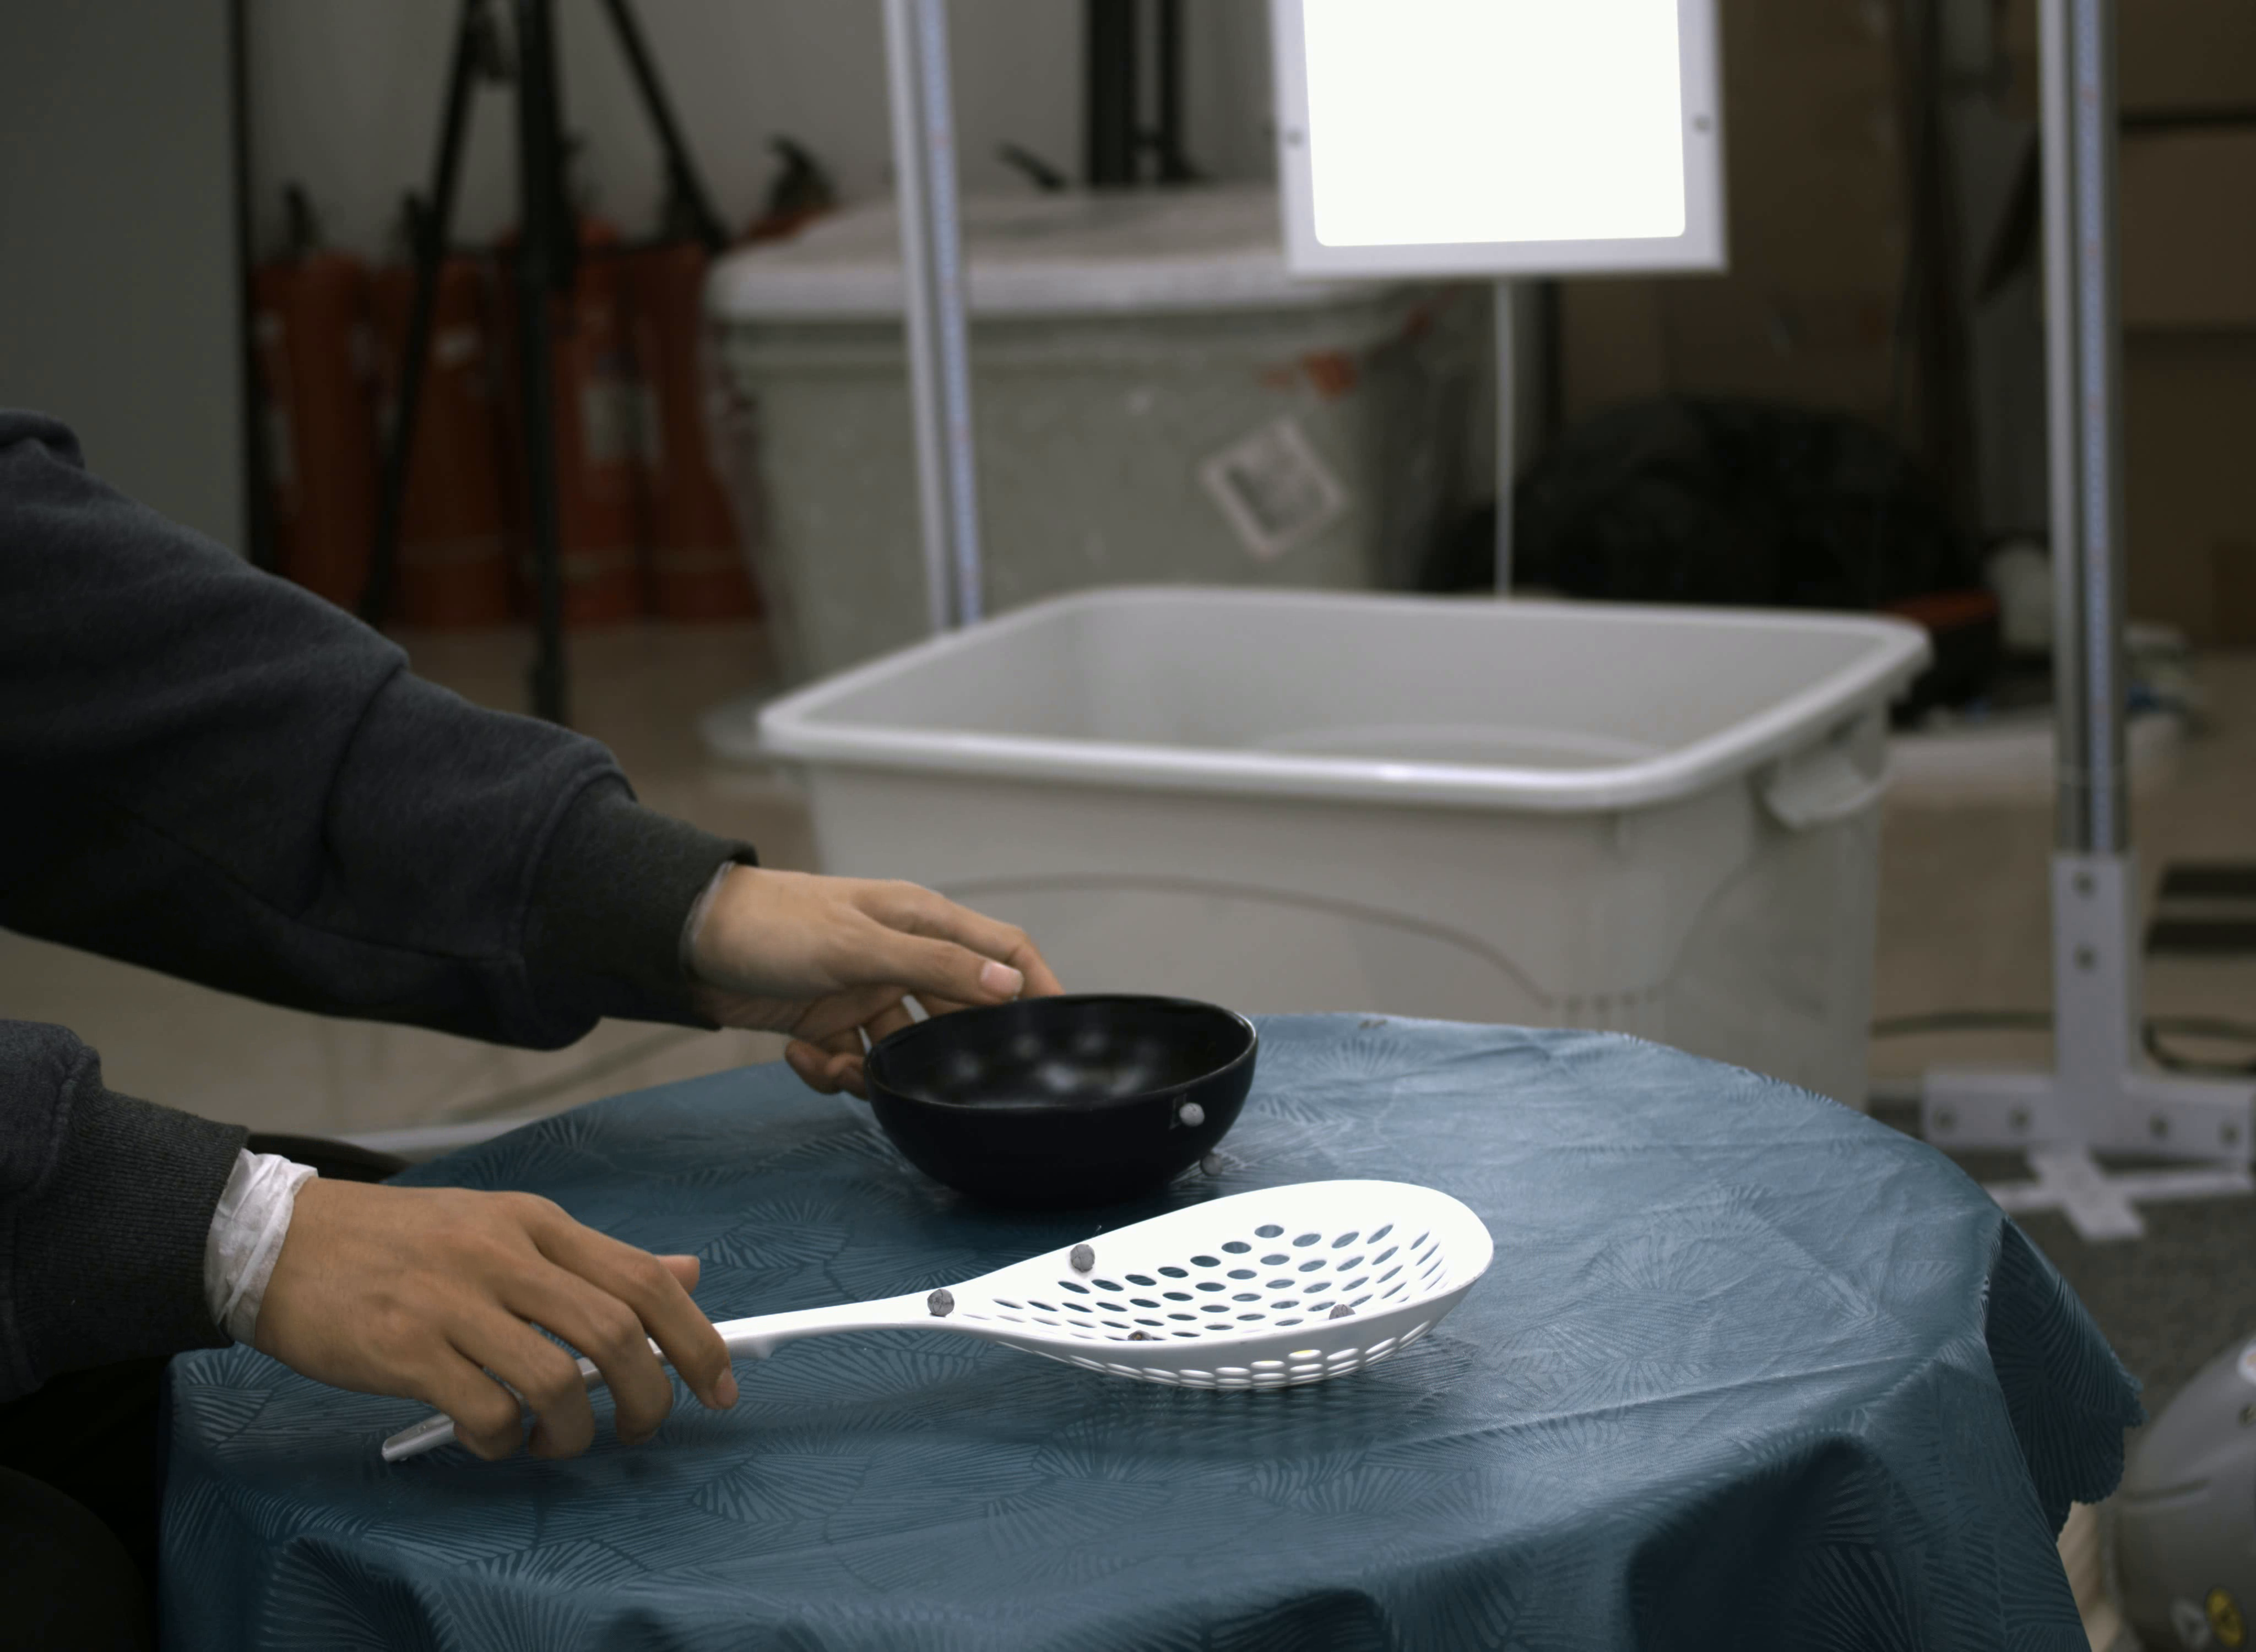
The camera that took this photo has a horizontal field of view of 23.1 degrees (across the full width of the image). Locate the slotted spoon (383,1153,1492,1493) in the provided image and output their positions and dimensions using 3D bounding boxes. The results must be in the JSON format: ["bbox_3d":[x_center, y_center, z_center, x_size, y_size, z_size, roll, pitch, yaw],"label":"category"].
[{"bbox_3d":[-0.059,0.160,1.700,0.346,0.050,0.137,-6,17,-2],"label":"slotted spoon"}]
